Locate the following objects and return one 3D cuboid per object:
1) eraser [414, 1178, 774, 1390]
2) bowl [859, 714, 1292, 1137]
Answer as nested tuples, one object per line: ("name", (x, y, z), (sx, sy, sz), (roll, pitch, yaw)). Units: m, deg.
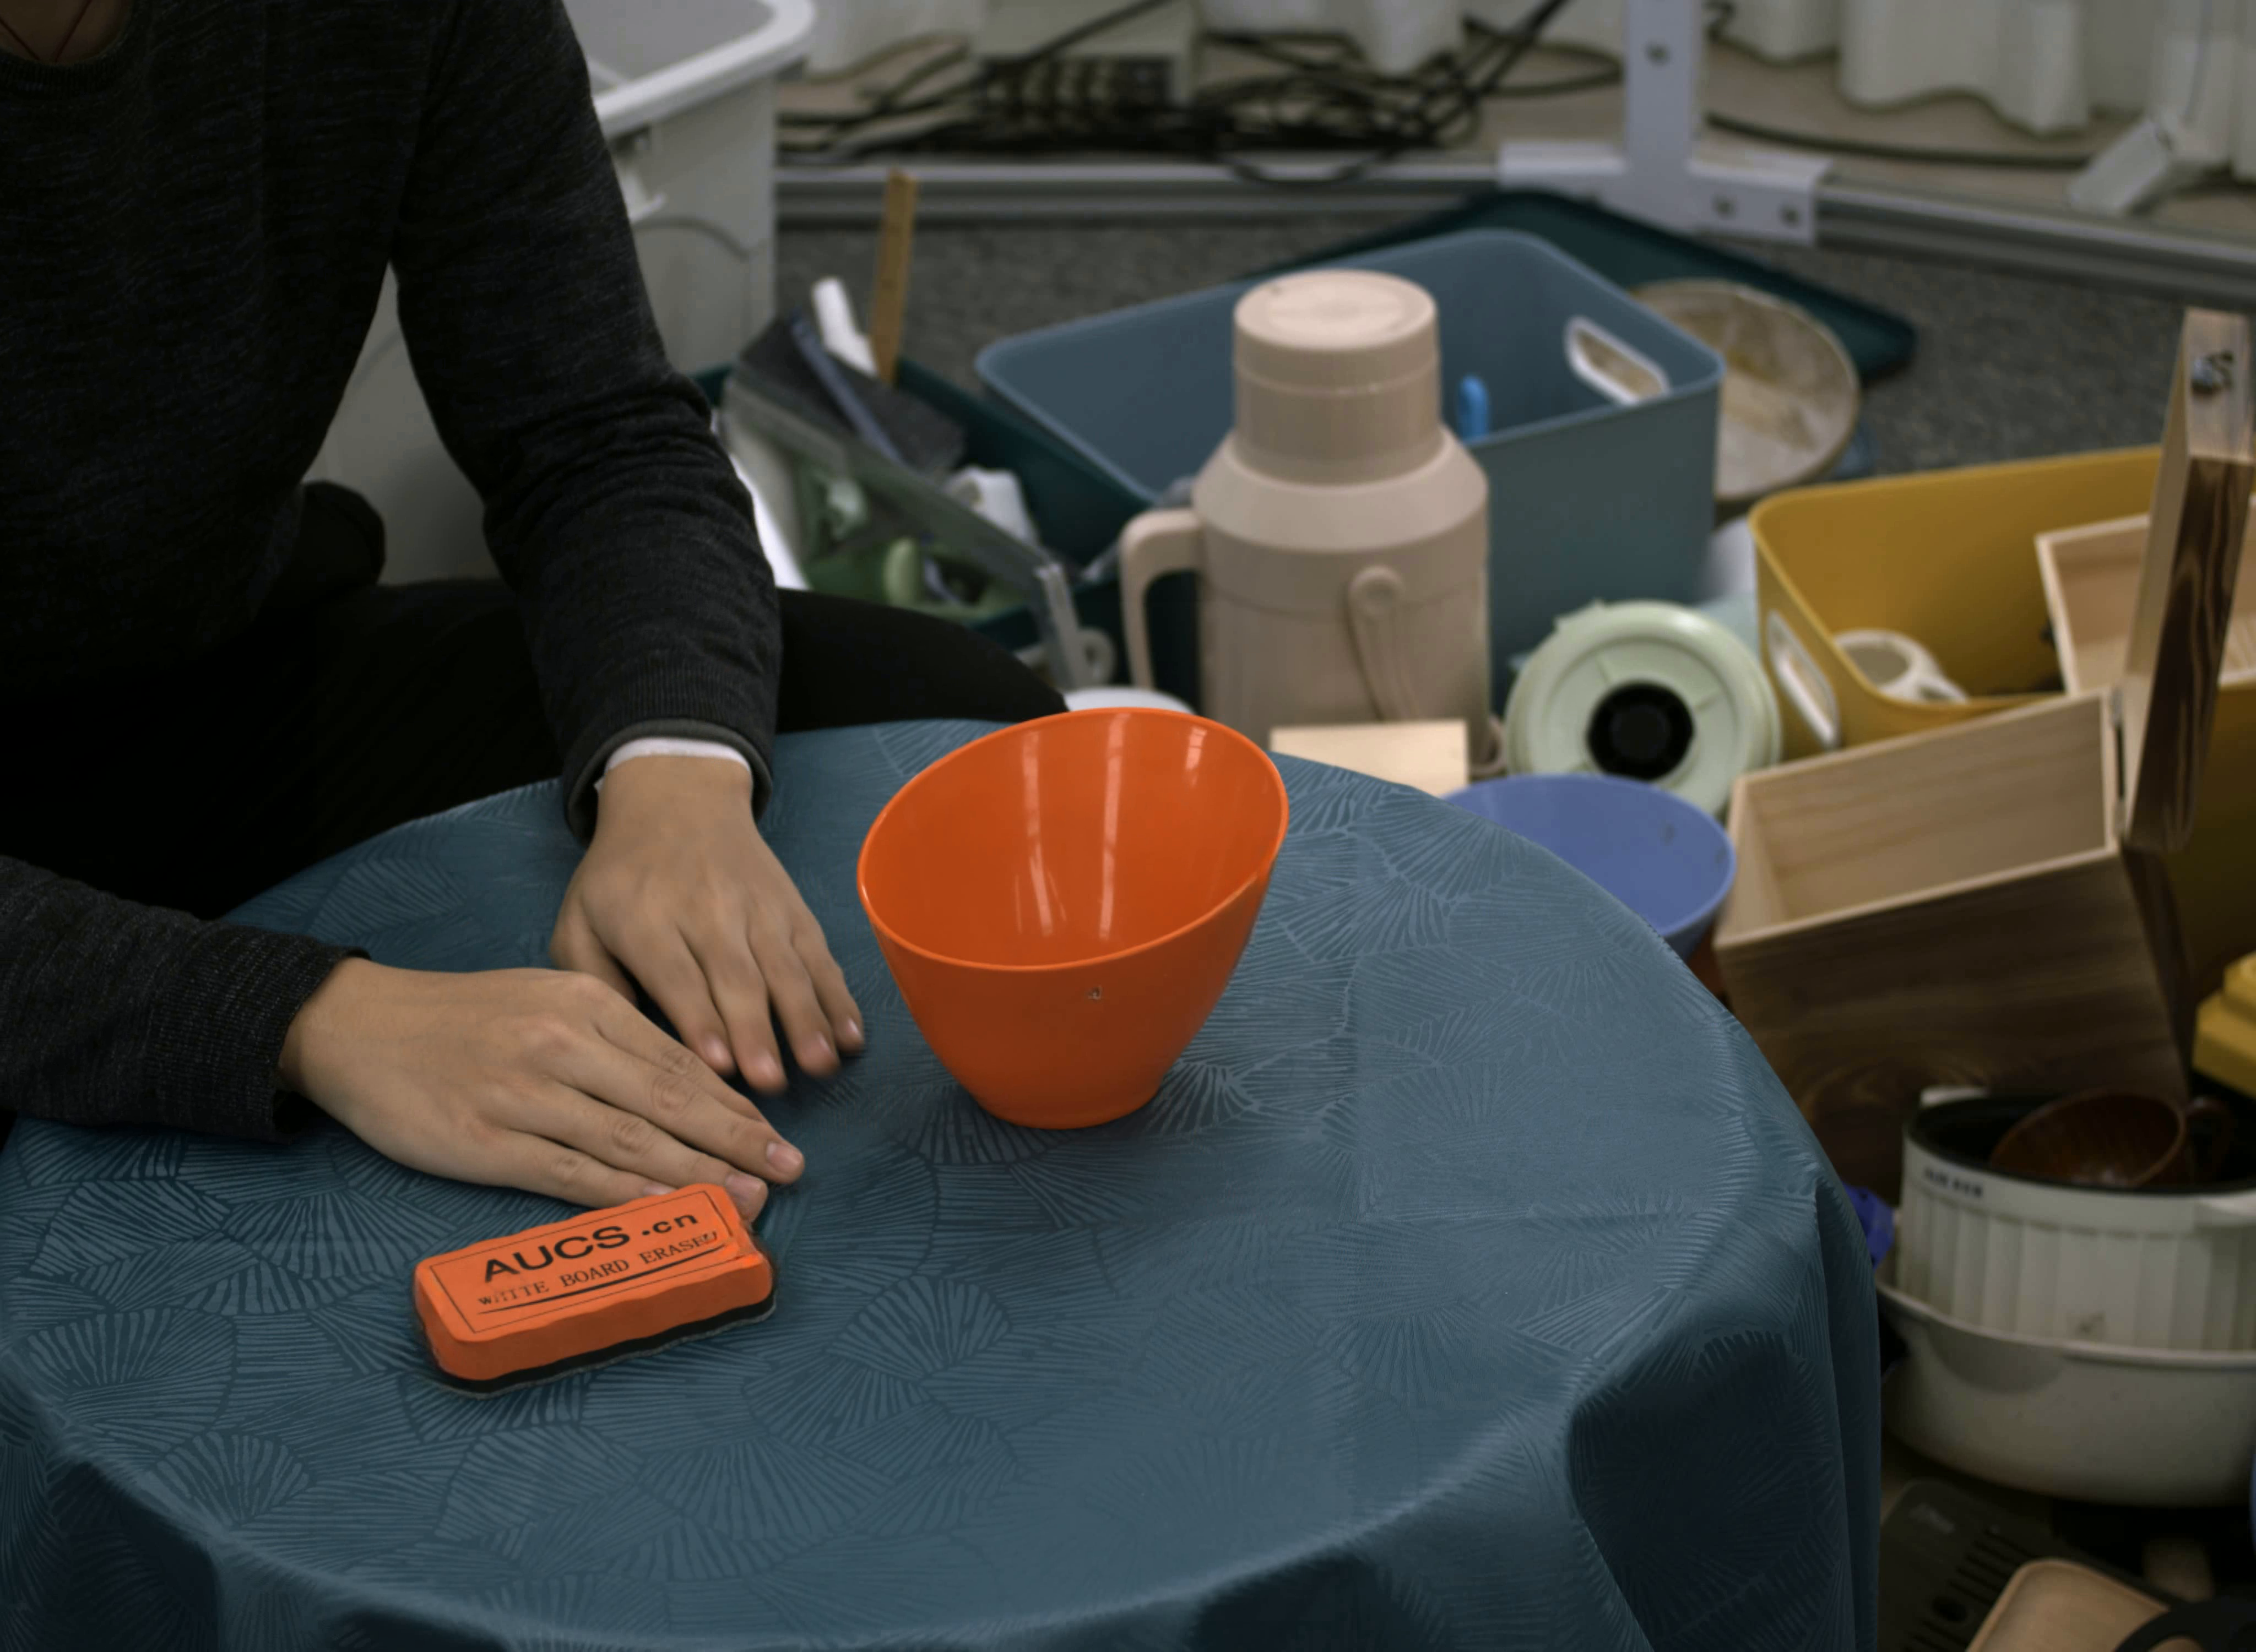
("eraser", (-0.171, 0.147, 1.798), (0.108, 0.022, 0.059), (-14, 31, -22))
("bowl", (-0.016, 0.040, 1.912), (0.147, 0.103, 0.150), (-2, 27, 1))
